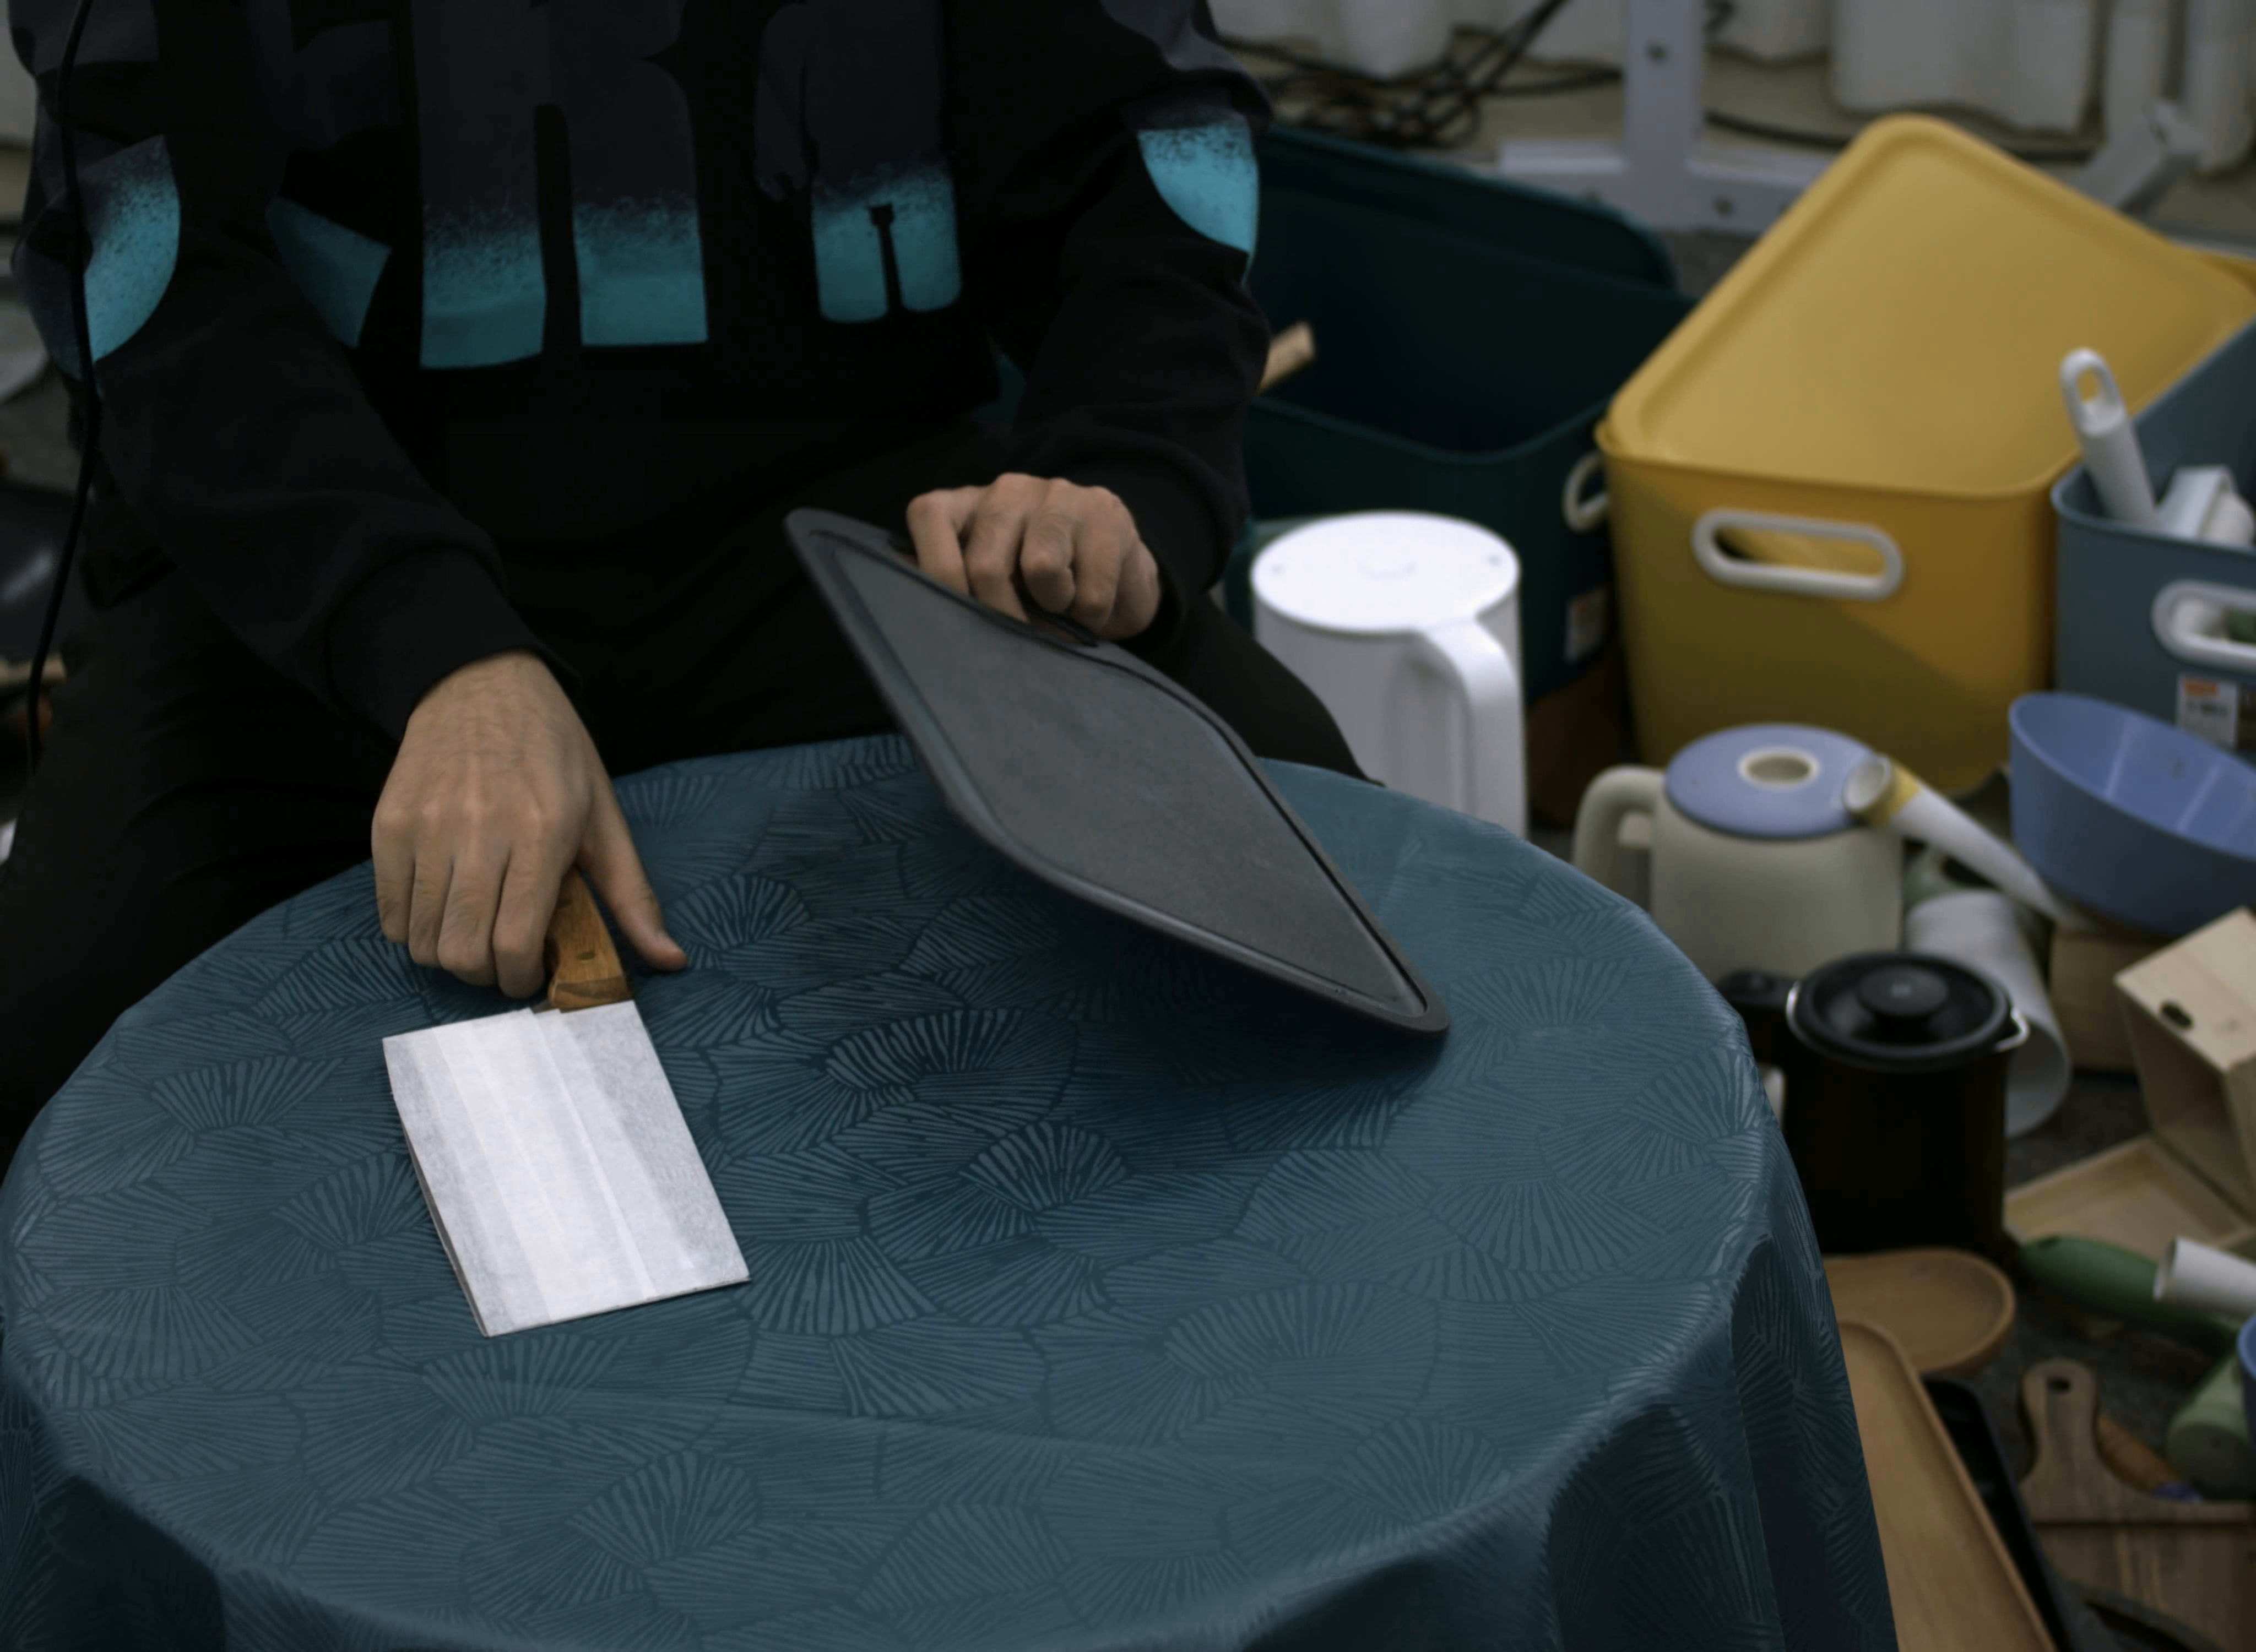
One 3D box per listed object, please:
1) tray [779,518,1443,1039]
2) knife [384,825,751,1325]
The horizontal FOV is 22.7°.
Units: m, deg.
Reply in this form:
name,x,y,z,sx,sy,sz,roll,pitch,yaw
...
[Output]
name,x,y,z,sx,sy,sz,roll,pitch,yaw
tray,-0.012,-0.026,2.015,0.210,0.010,0.328,22,17,-27
knife,-0.206,0.084,1.938,0.093,0.021,0.309,-11,31,-13
